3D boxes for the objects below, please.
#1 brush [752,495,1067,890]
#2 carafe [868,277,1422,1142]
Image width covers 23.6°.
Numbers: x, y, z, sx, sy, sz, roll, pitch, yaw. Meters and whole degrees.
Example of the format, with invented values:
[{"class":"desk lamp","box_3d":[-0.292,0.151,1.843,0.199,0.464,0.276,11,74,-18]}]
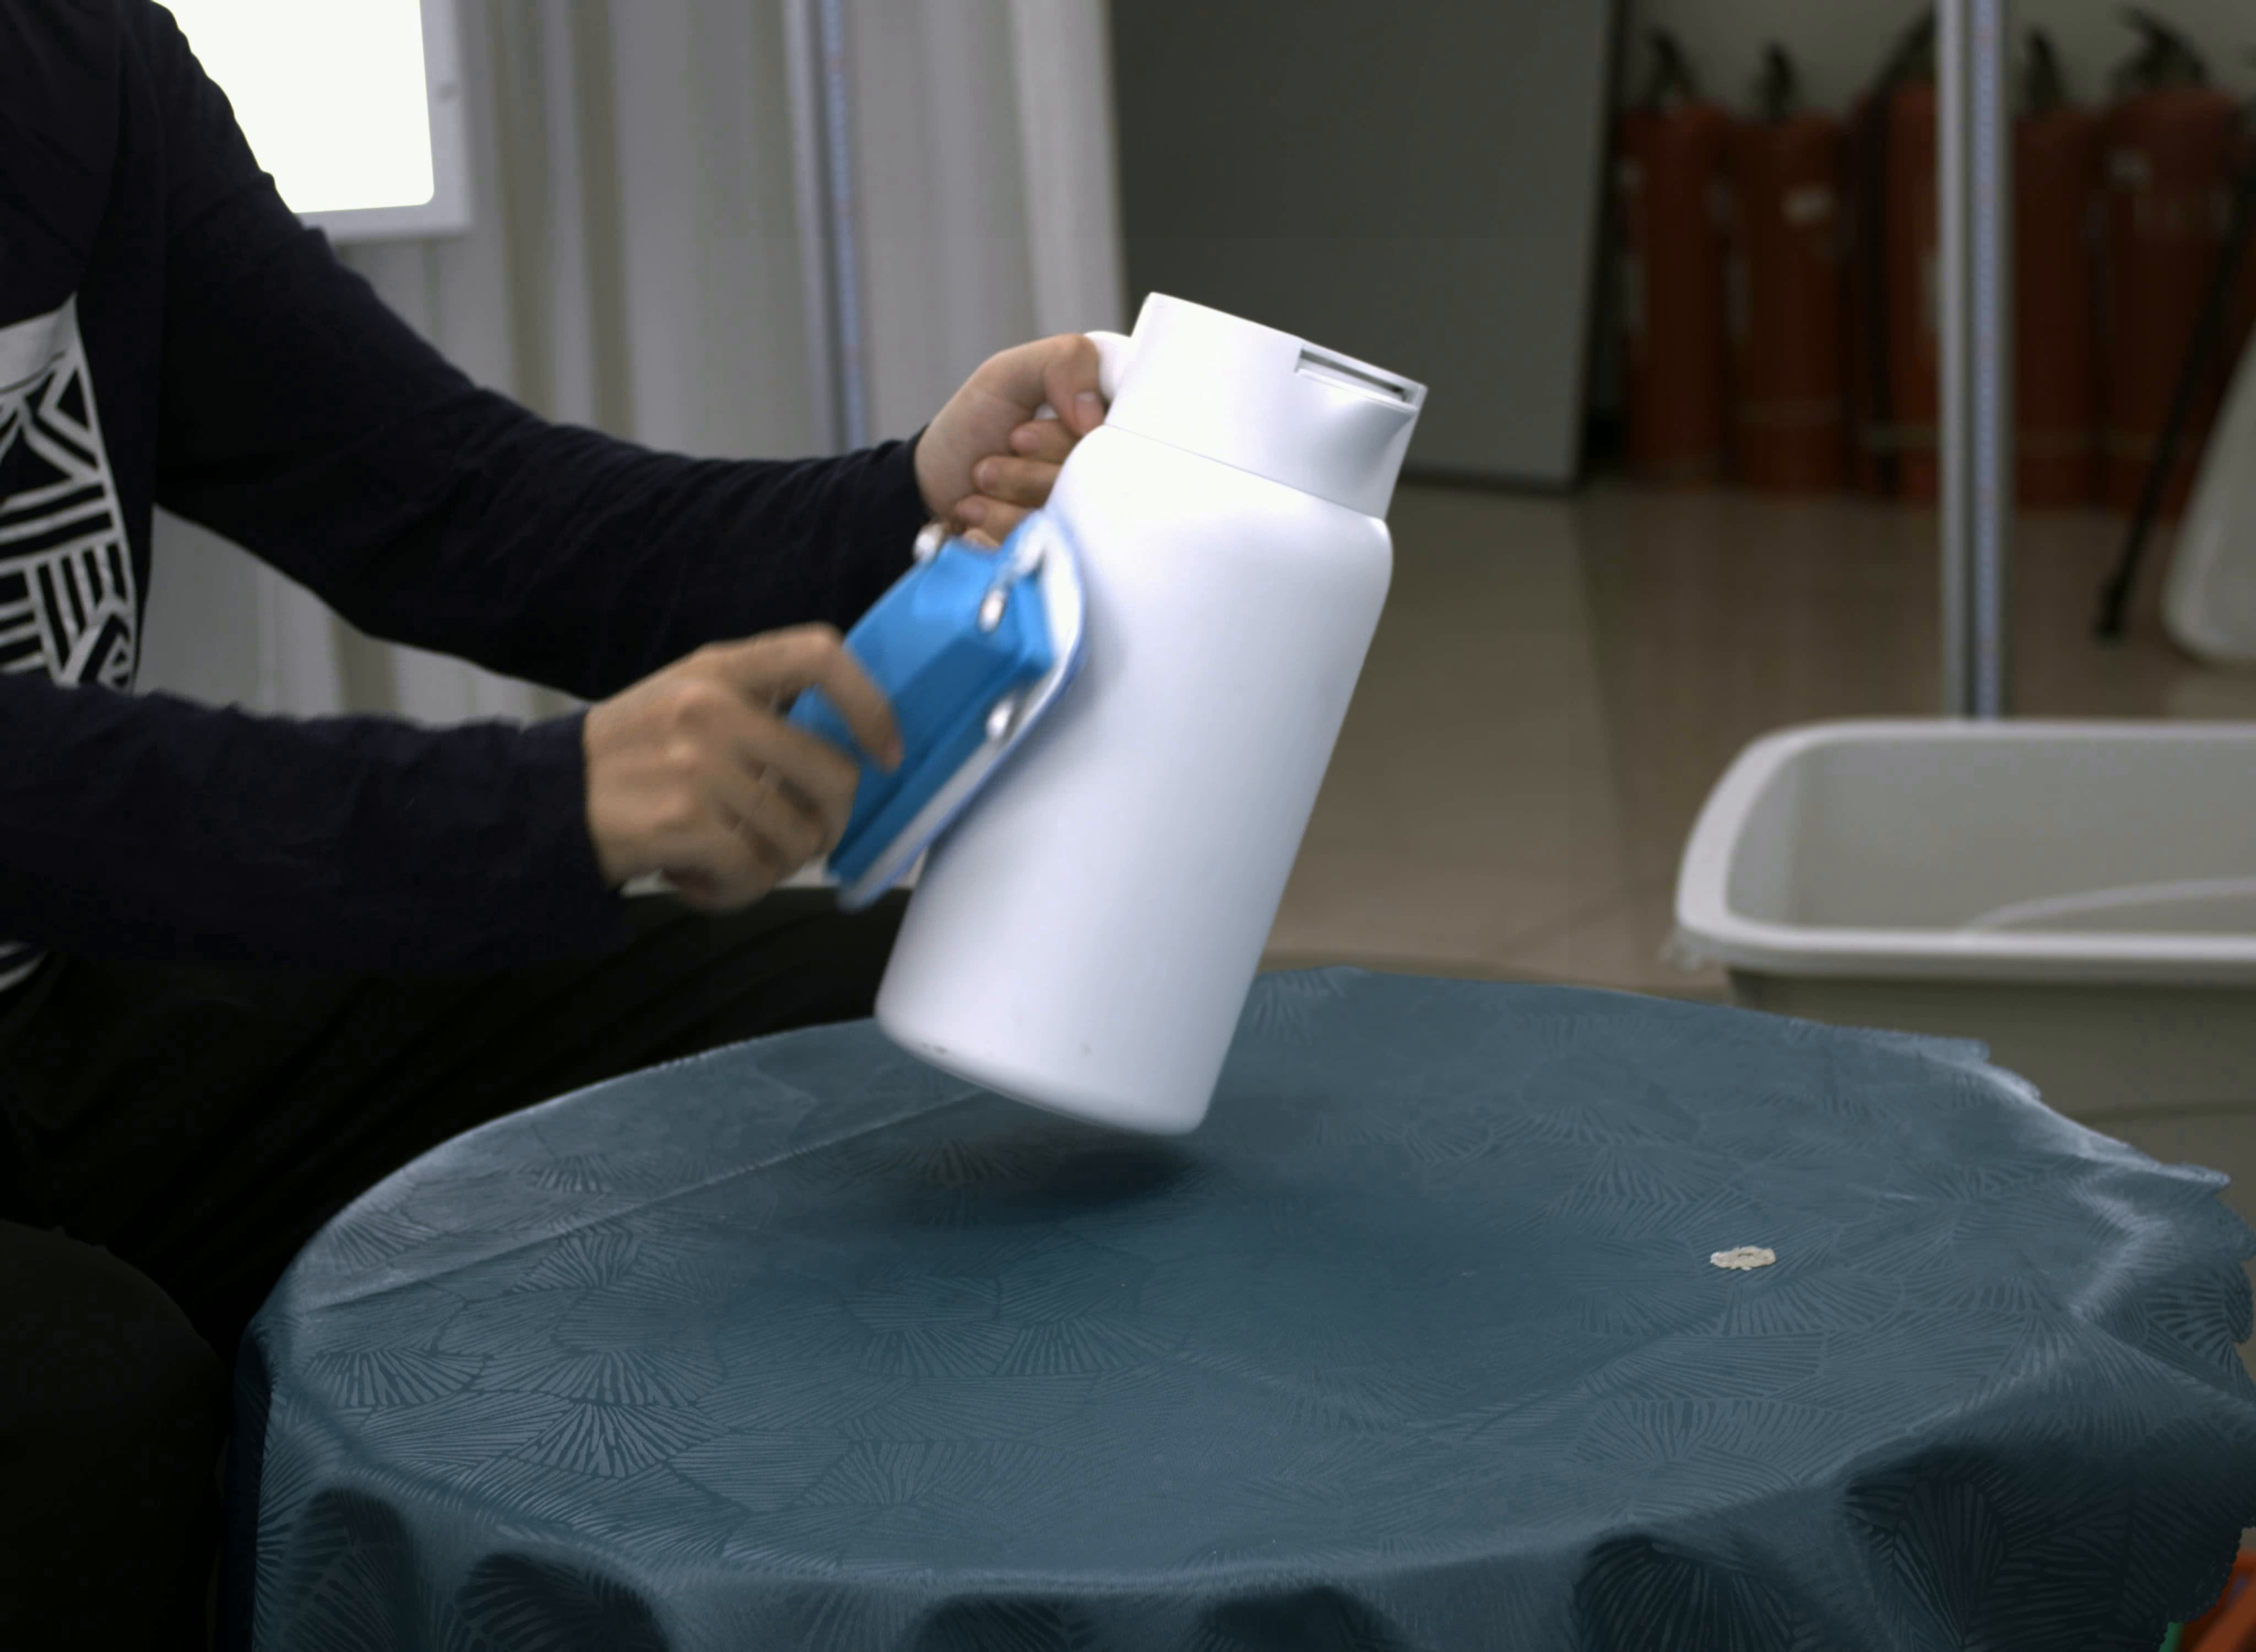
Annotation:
[{"class":"brush","box_3d":[-0.076,-0.049,1.759,0.055,0.145,0.084,25,39,-28]},{"class":"carafe","box_3d":[-0.002,-0.043,1.799,0.121,0.272,0.175,15,4,-38]}]
